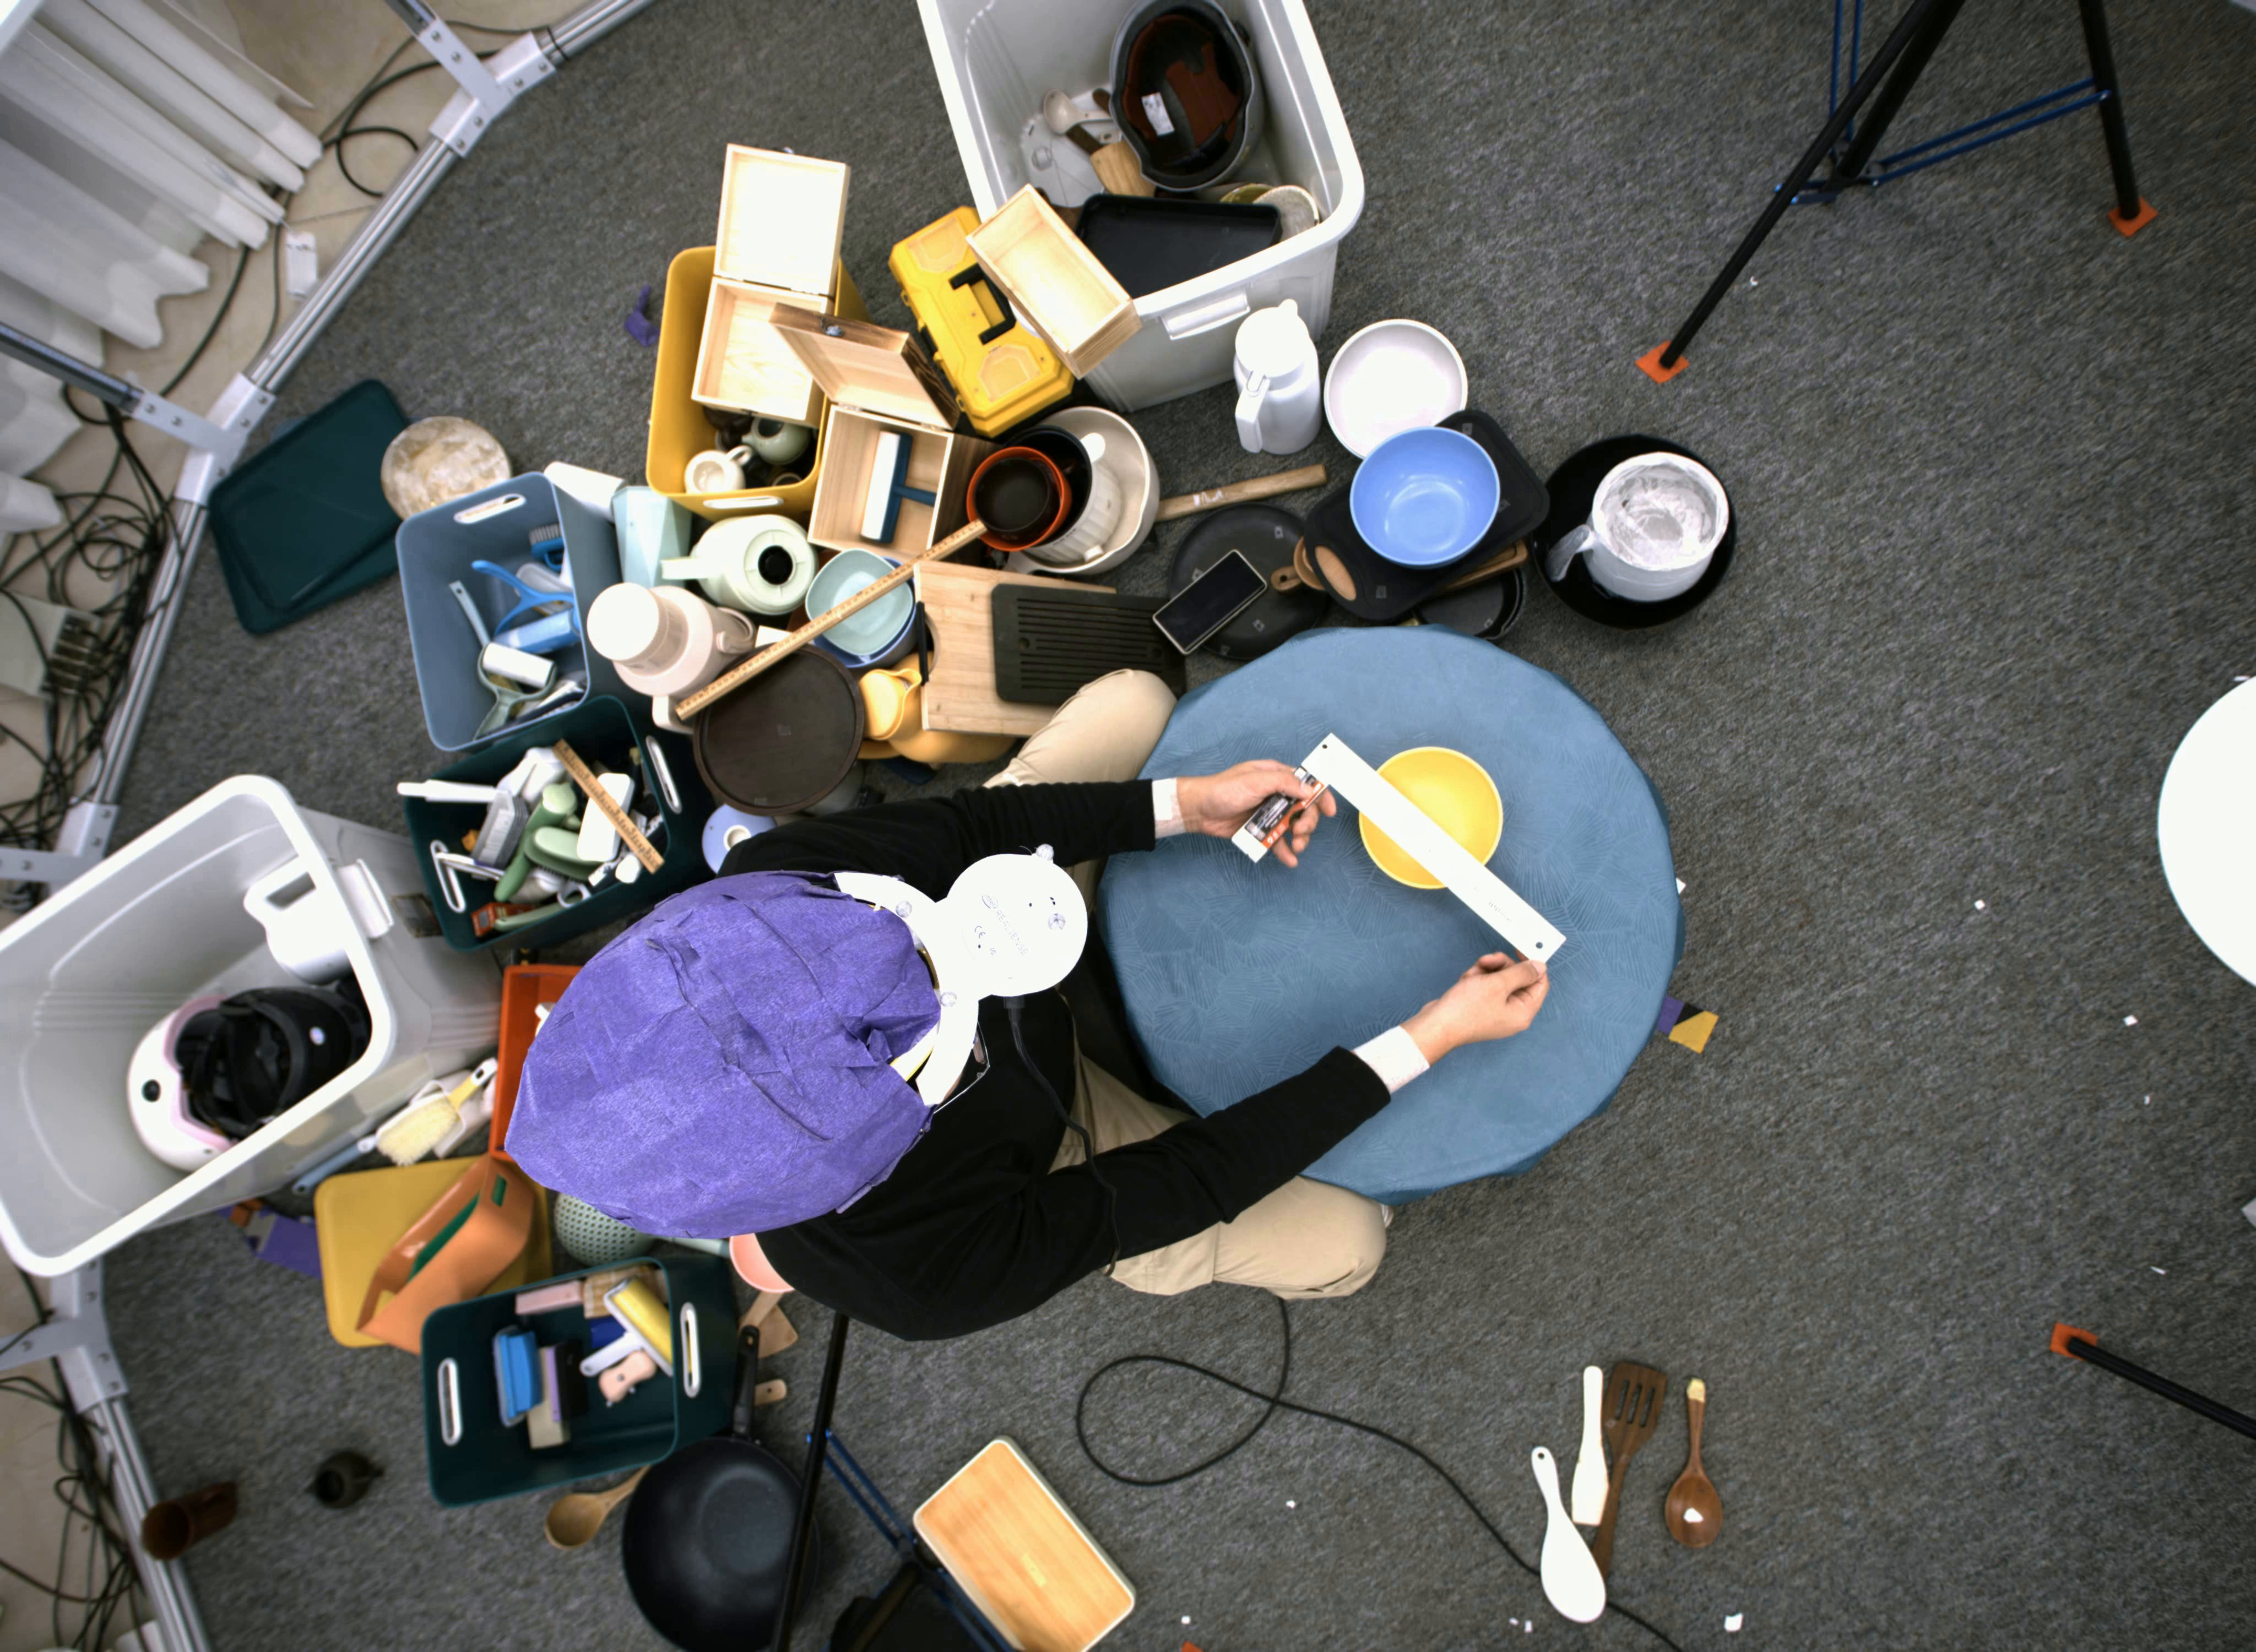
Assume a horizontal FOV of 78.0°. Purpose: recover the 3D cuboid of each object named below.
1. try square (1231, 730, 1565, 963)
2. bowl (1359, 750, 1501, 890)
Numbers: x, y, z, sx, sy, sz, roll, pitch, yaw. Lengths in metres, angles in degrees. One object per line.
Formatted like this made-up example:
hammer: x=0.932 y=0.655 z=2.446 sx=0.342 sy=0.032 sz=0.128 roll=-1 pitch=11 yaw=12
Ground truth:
try square: x=0.267 y=0.056 z=1.377 sx=0.311 sy=0.016 sz=0.152 roll=42 pitch=88 yaw=9
bowl: x=0.313 y=-0.005 z=1.429 sx=0.146 sy=0.060 sz=0.144 roll=-1 pitch=86 yaw=14
